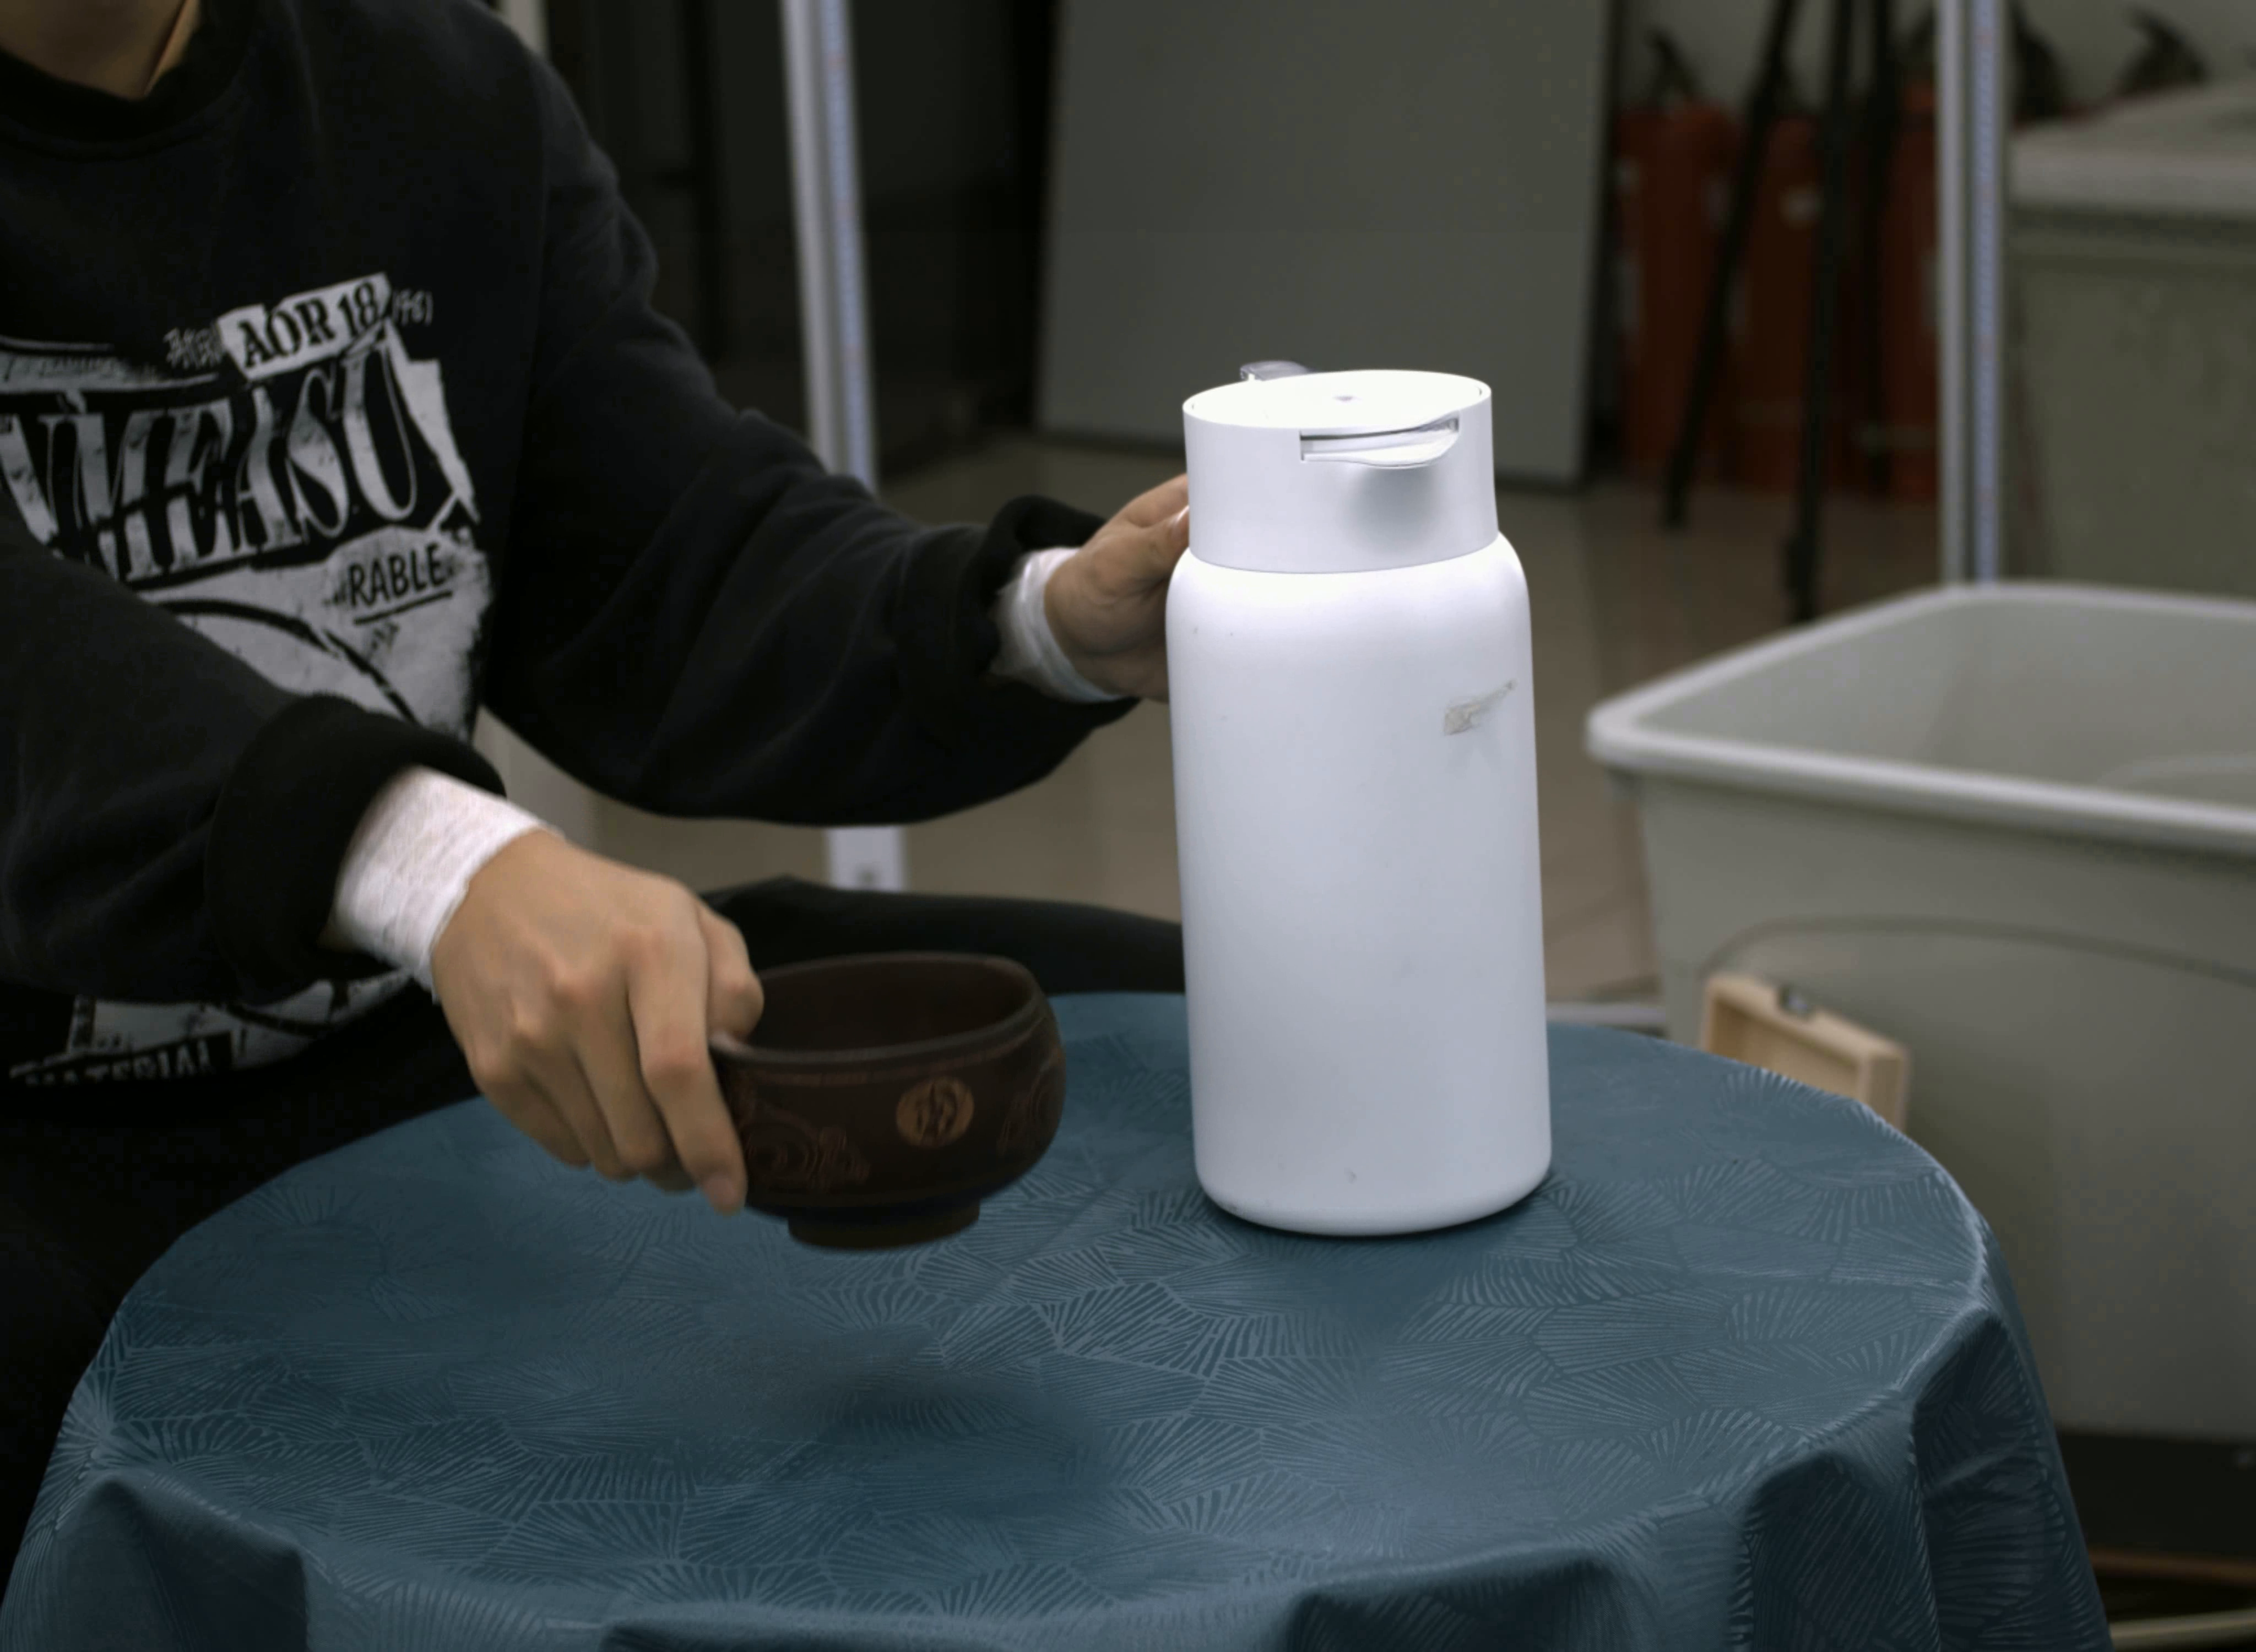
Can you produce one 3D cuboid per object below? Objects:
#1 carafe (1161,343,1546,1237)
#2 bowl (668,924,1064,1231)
[{"bbox_3d":[0.065,-0.015,1.744,0.121,0.272,0.174,-10,15,-16],"label":"carafe"},{"bbox_3d":[-0.076,0.077,1.590,0.116,0.070,0.118,-4,13,0],"label":"bowl"}]
